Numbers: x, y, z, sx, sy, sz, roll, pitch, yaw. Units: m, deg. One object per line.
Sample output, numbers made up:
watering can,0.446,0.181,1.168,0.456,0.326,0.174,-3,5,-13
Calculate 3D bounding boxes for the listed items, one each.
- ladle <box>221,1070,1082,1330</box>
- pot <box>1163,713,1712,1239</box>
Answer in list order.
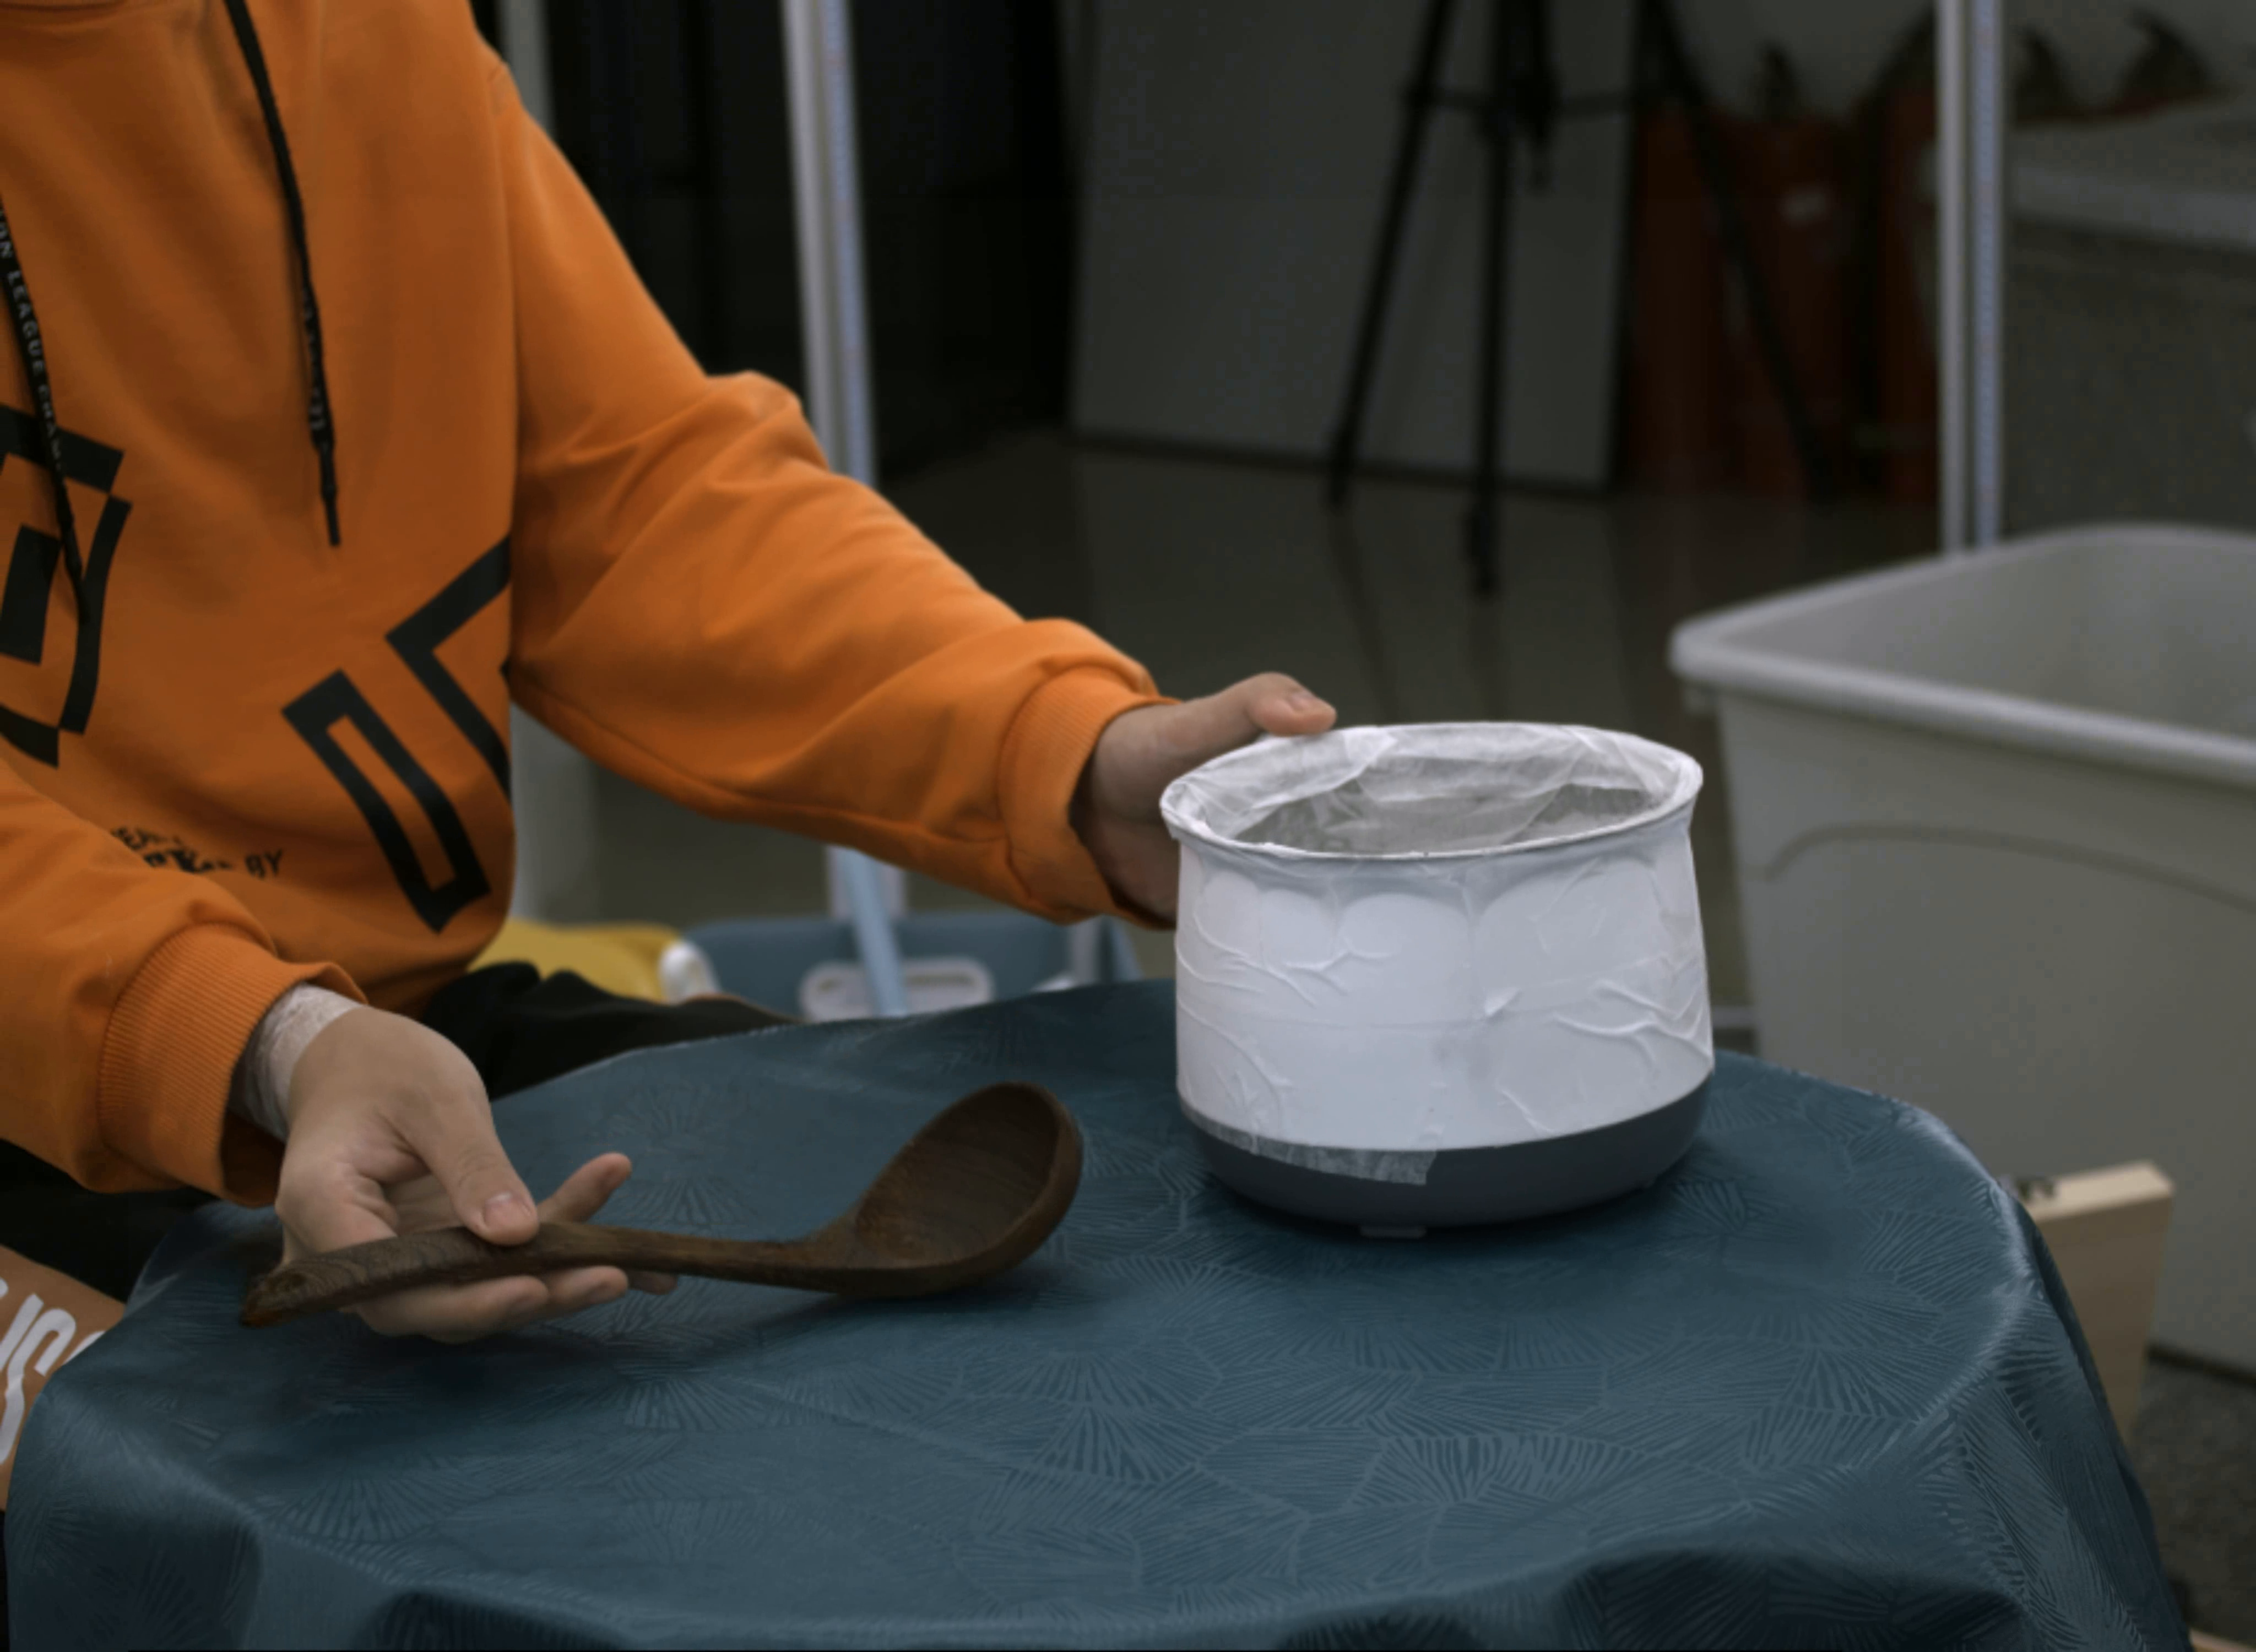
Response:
ladle,-0.140,0.112,1.640,0.268,0.072,0.077,0,15,-28
pot,0.088,0.042,1.774,0.175,0.138,0.236,-10,15,-26
